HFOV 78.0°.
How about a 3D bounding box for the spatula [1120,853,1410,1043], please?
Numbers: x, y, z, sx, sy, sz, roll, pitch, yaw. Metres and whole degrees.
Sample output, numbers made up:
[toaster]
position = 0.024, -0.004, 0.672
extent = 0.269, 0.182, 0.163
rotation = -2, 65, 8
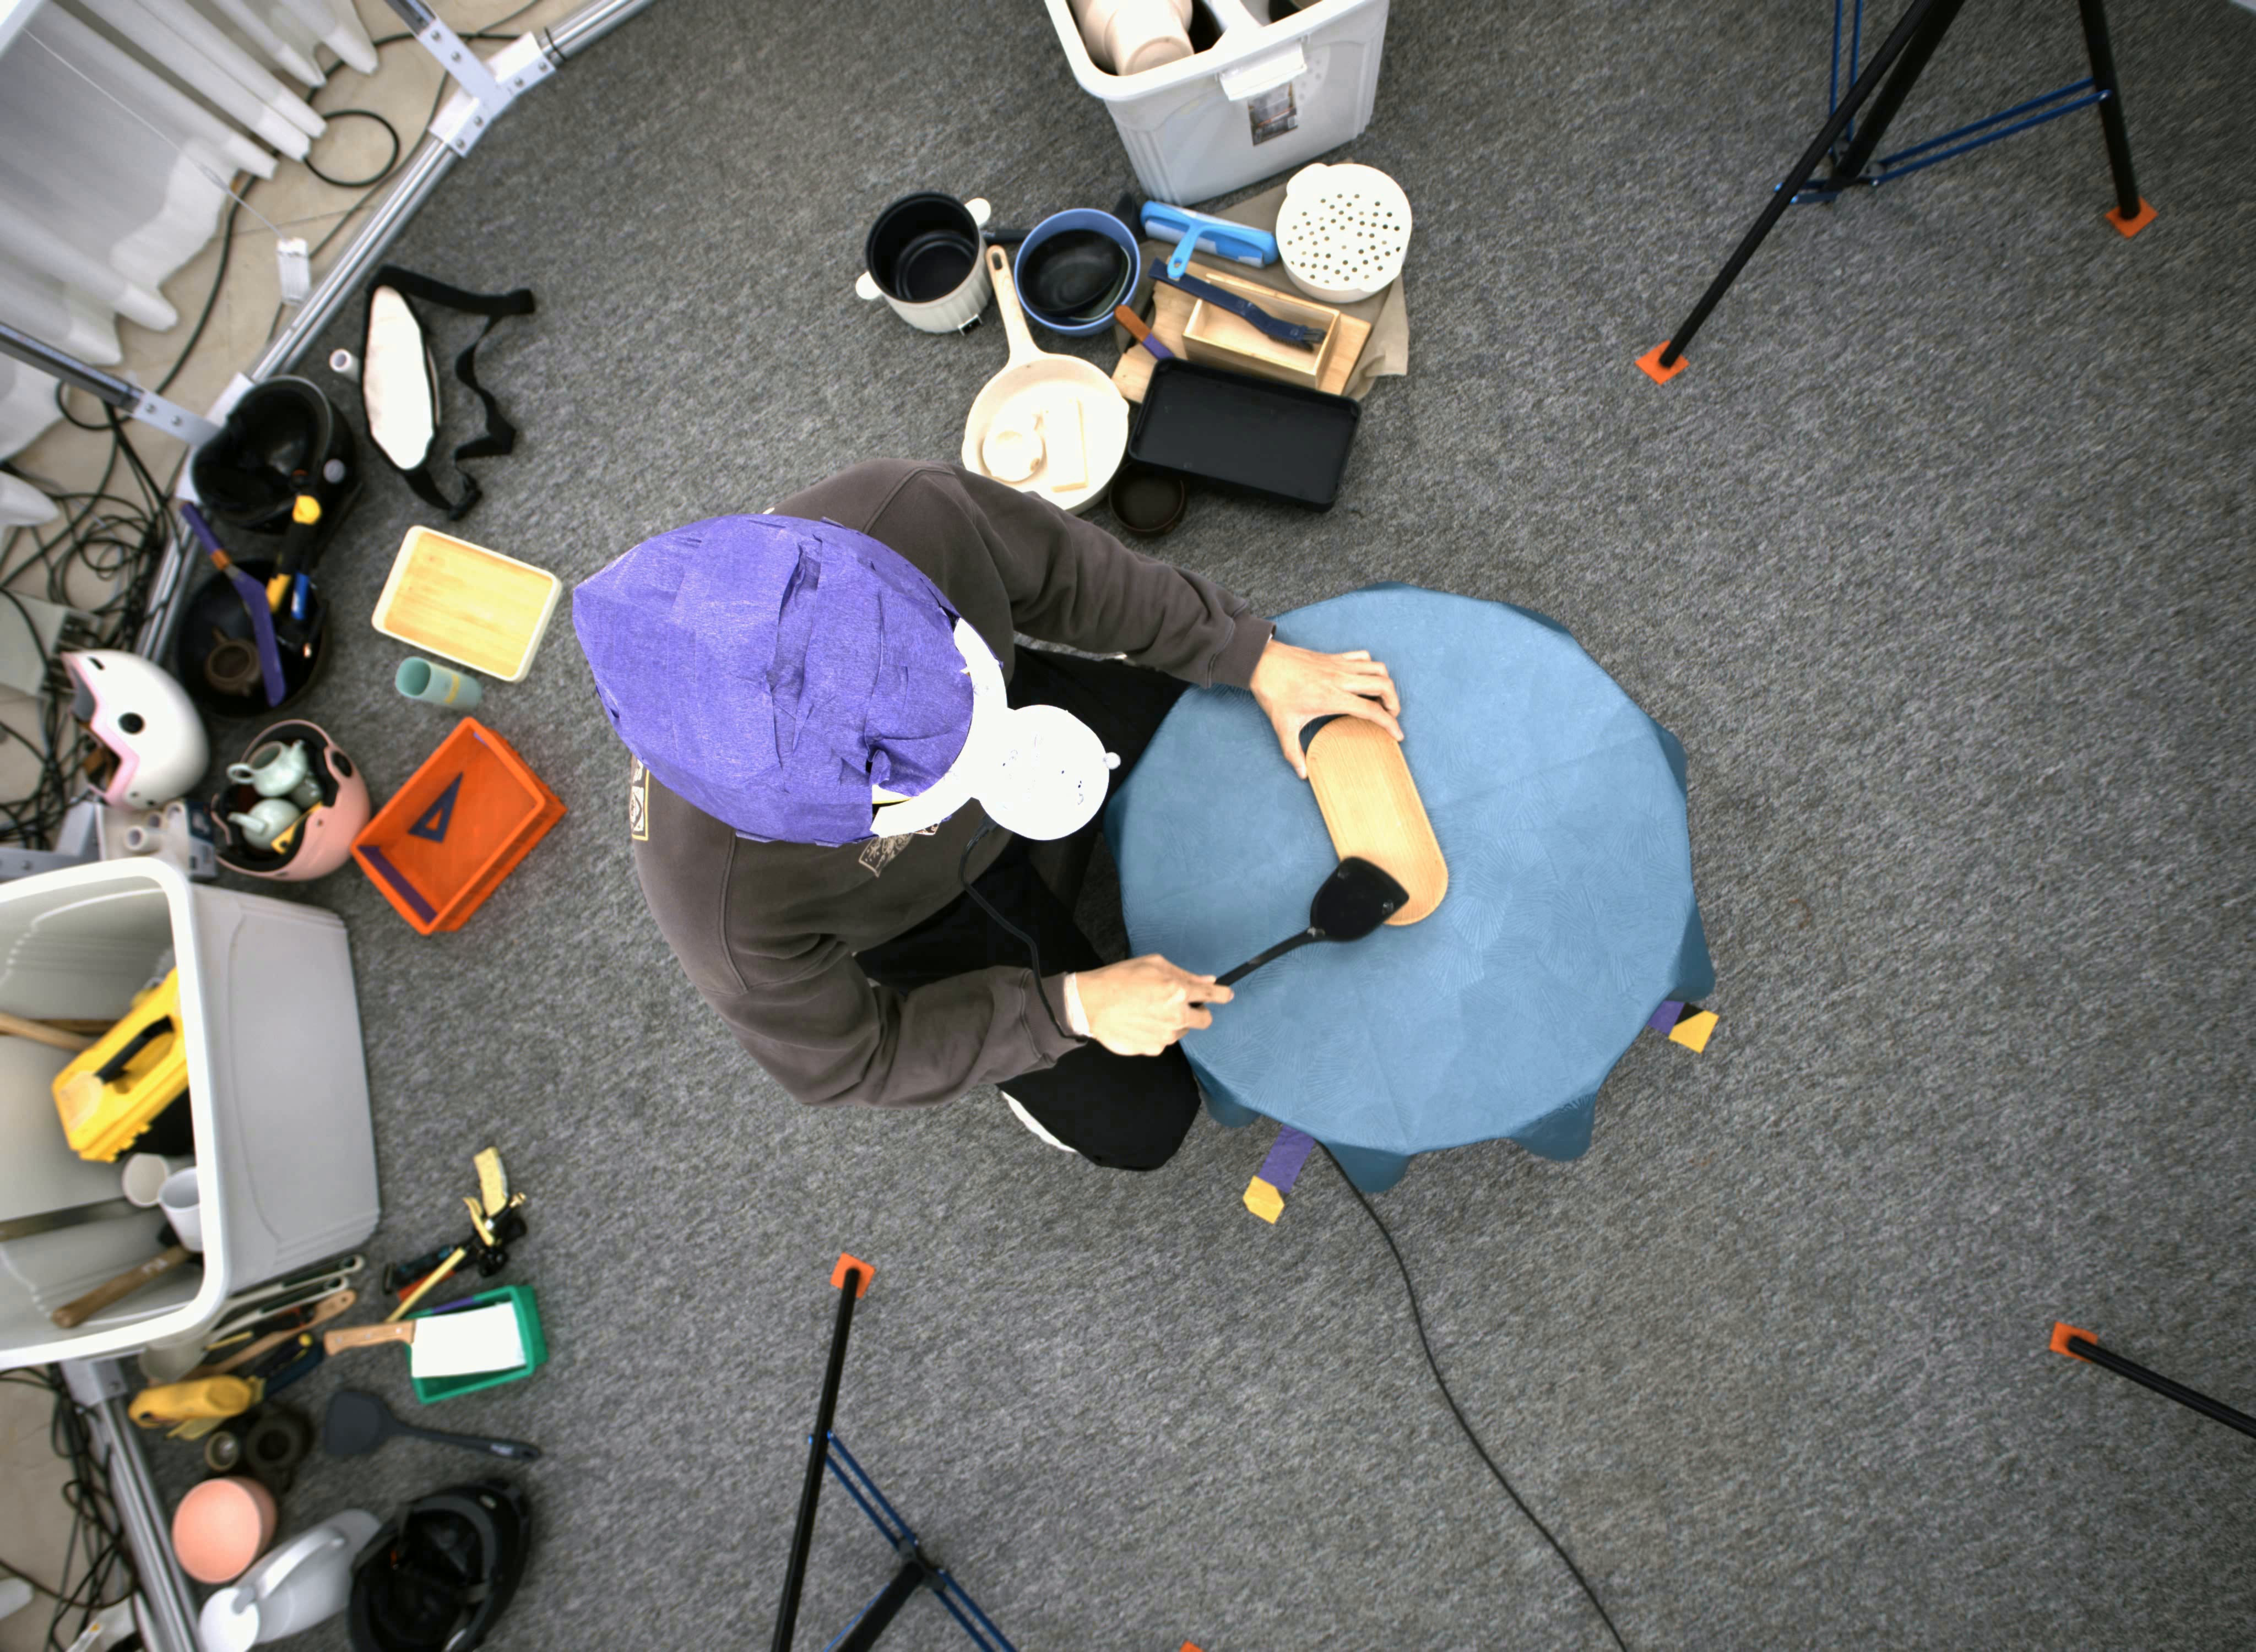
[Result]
[spatula]
position = 0.129, 0.126, 1.379
extent = 0.323, 0.098, 0.041
rotation = -27, 125, -15

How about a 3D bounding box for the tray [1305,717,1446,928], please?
[tray]
position = 0.260, -0.005, 1.455
extent = 0.102, 0.020, 0.230
rotation = -21, 85, 10
